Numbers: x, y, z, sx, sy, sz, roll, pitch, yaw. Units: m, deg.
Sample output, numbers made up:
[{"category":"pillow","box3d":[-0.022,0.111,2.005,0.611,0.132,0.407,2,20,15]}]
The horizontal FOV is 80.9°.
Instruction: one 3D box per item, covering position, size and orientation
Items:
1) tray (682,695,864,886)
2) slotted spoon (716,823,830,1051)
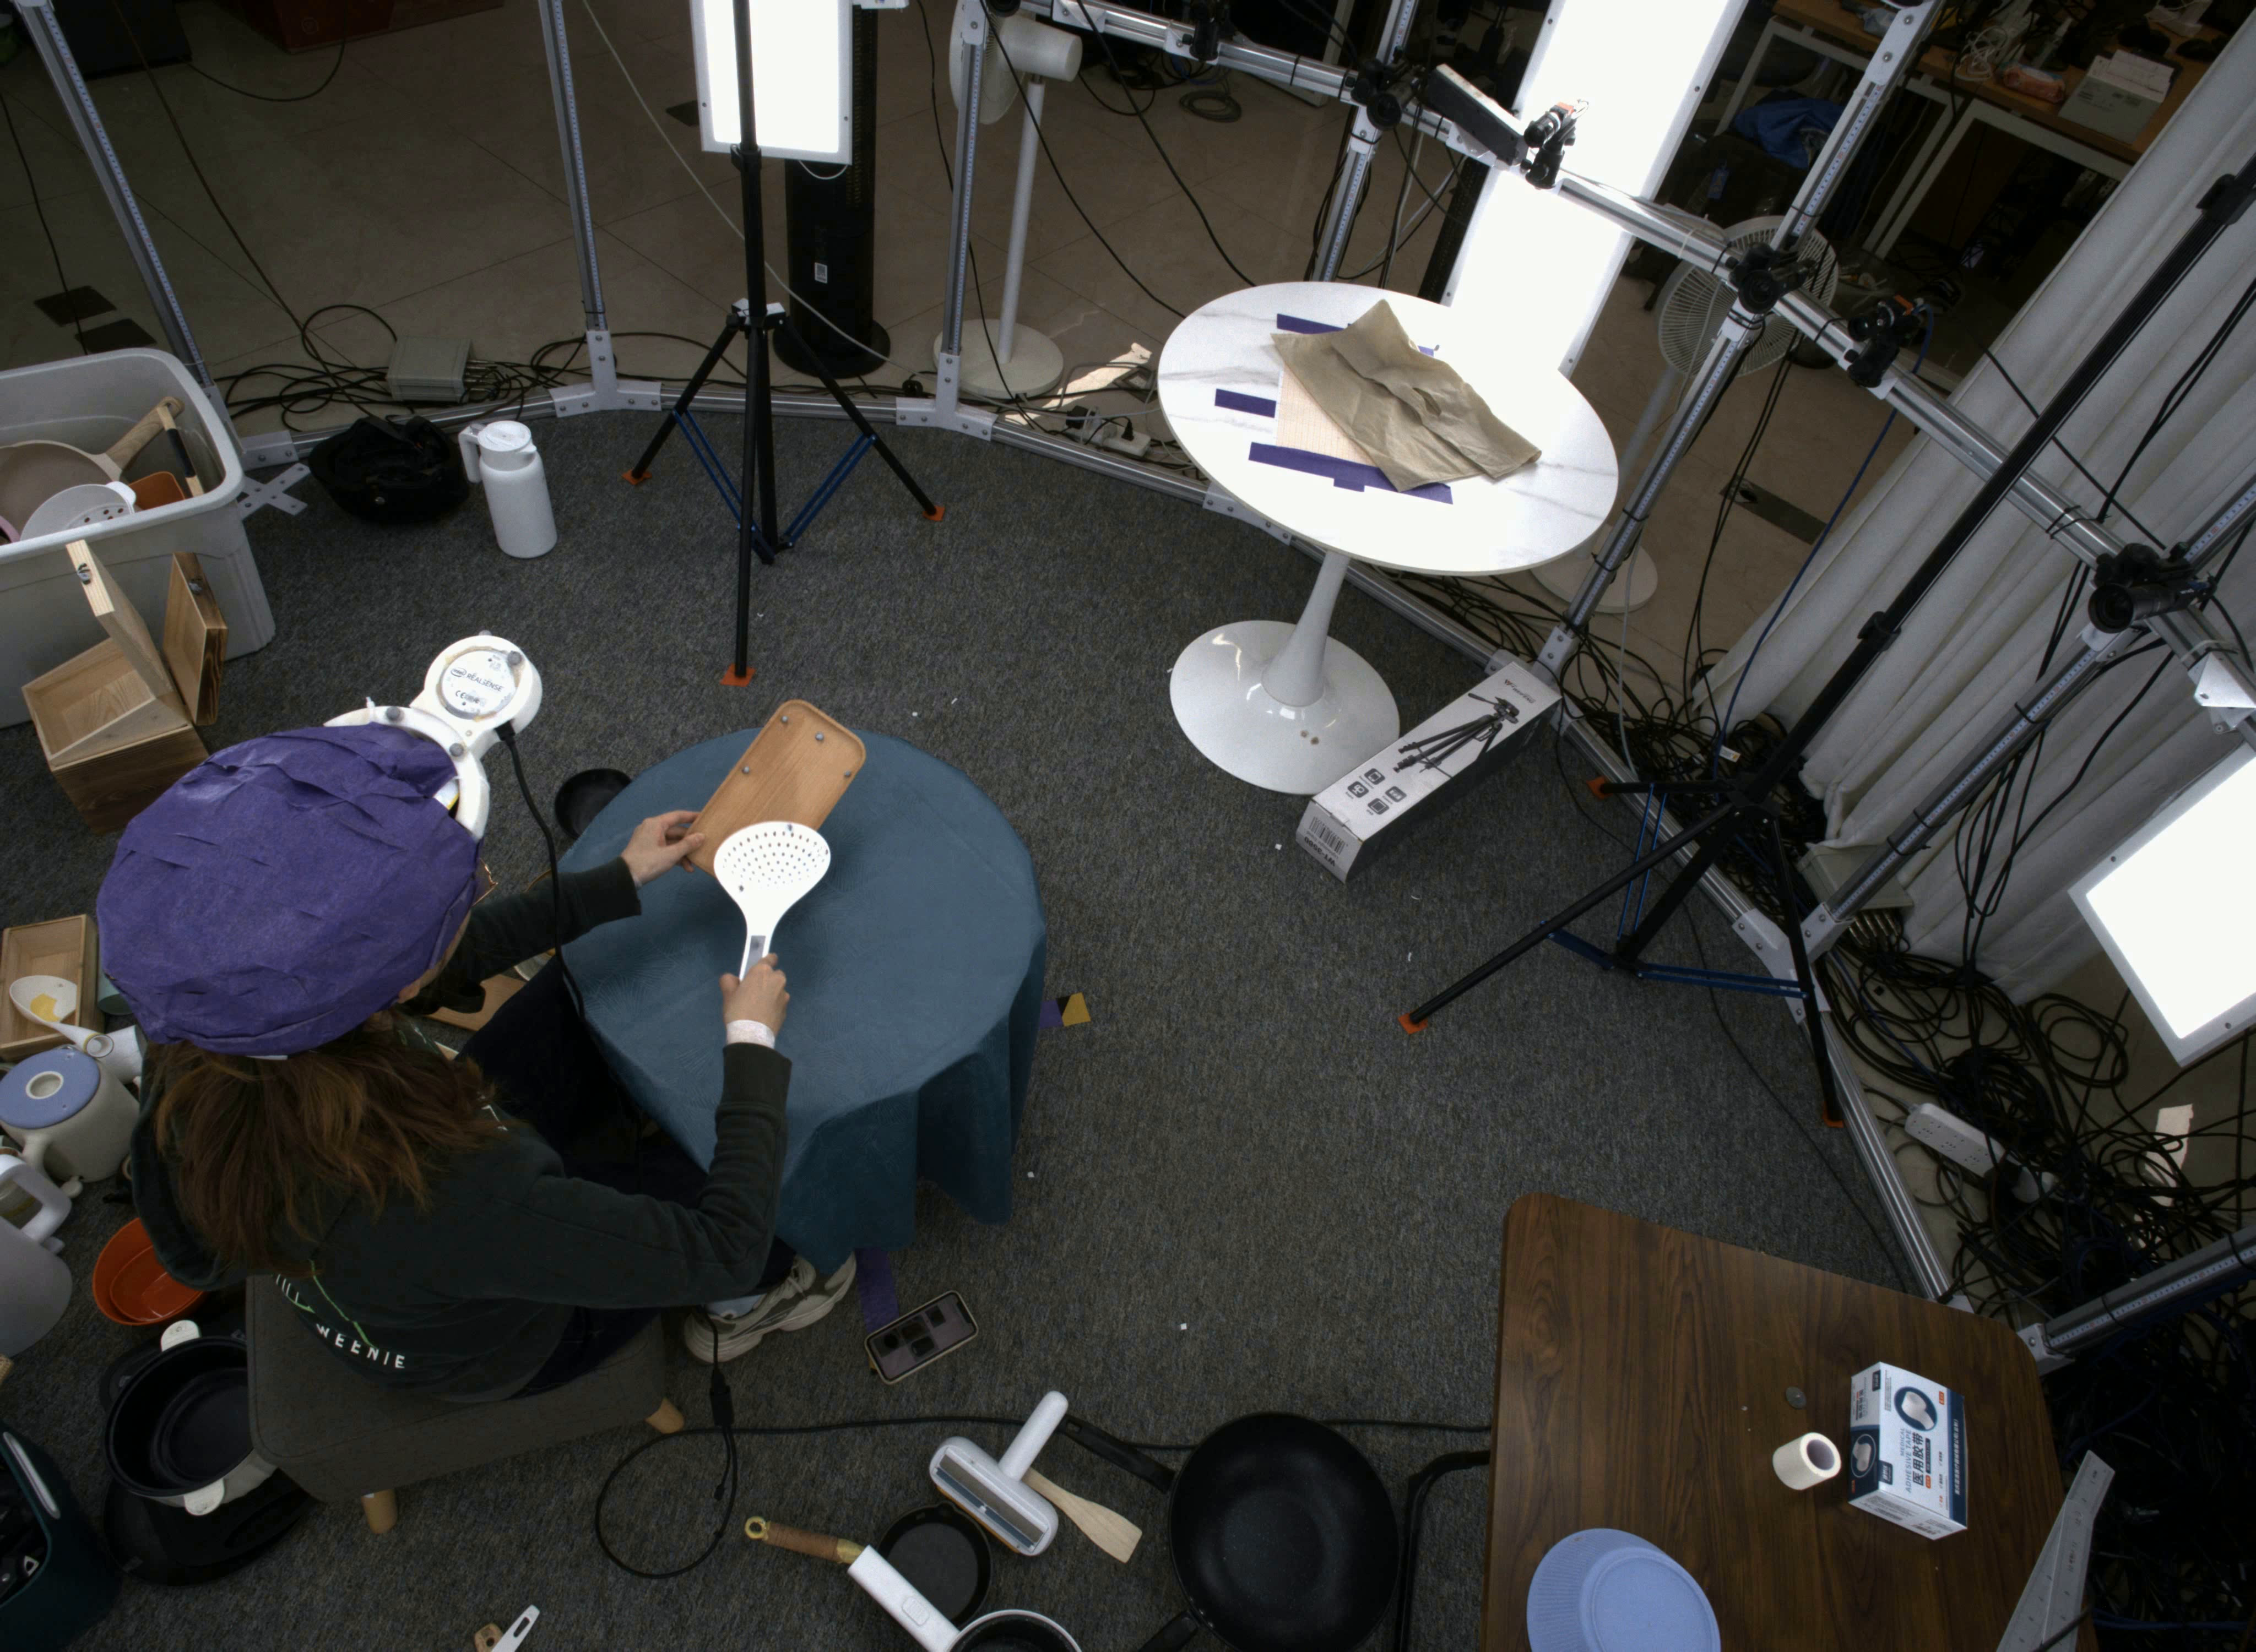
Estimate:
[{"category":"tray","box3d":[-0.439,-0.038,1.608,0.132,0.022,0.250,36,70,-12]},{"category":"slotted spoon","box3d":[-0.416,0.115,1.472,0.135,0.047,0.341,-1,37,-5]}]
